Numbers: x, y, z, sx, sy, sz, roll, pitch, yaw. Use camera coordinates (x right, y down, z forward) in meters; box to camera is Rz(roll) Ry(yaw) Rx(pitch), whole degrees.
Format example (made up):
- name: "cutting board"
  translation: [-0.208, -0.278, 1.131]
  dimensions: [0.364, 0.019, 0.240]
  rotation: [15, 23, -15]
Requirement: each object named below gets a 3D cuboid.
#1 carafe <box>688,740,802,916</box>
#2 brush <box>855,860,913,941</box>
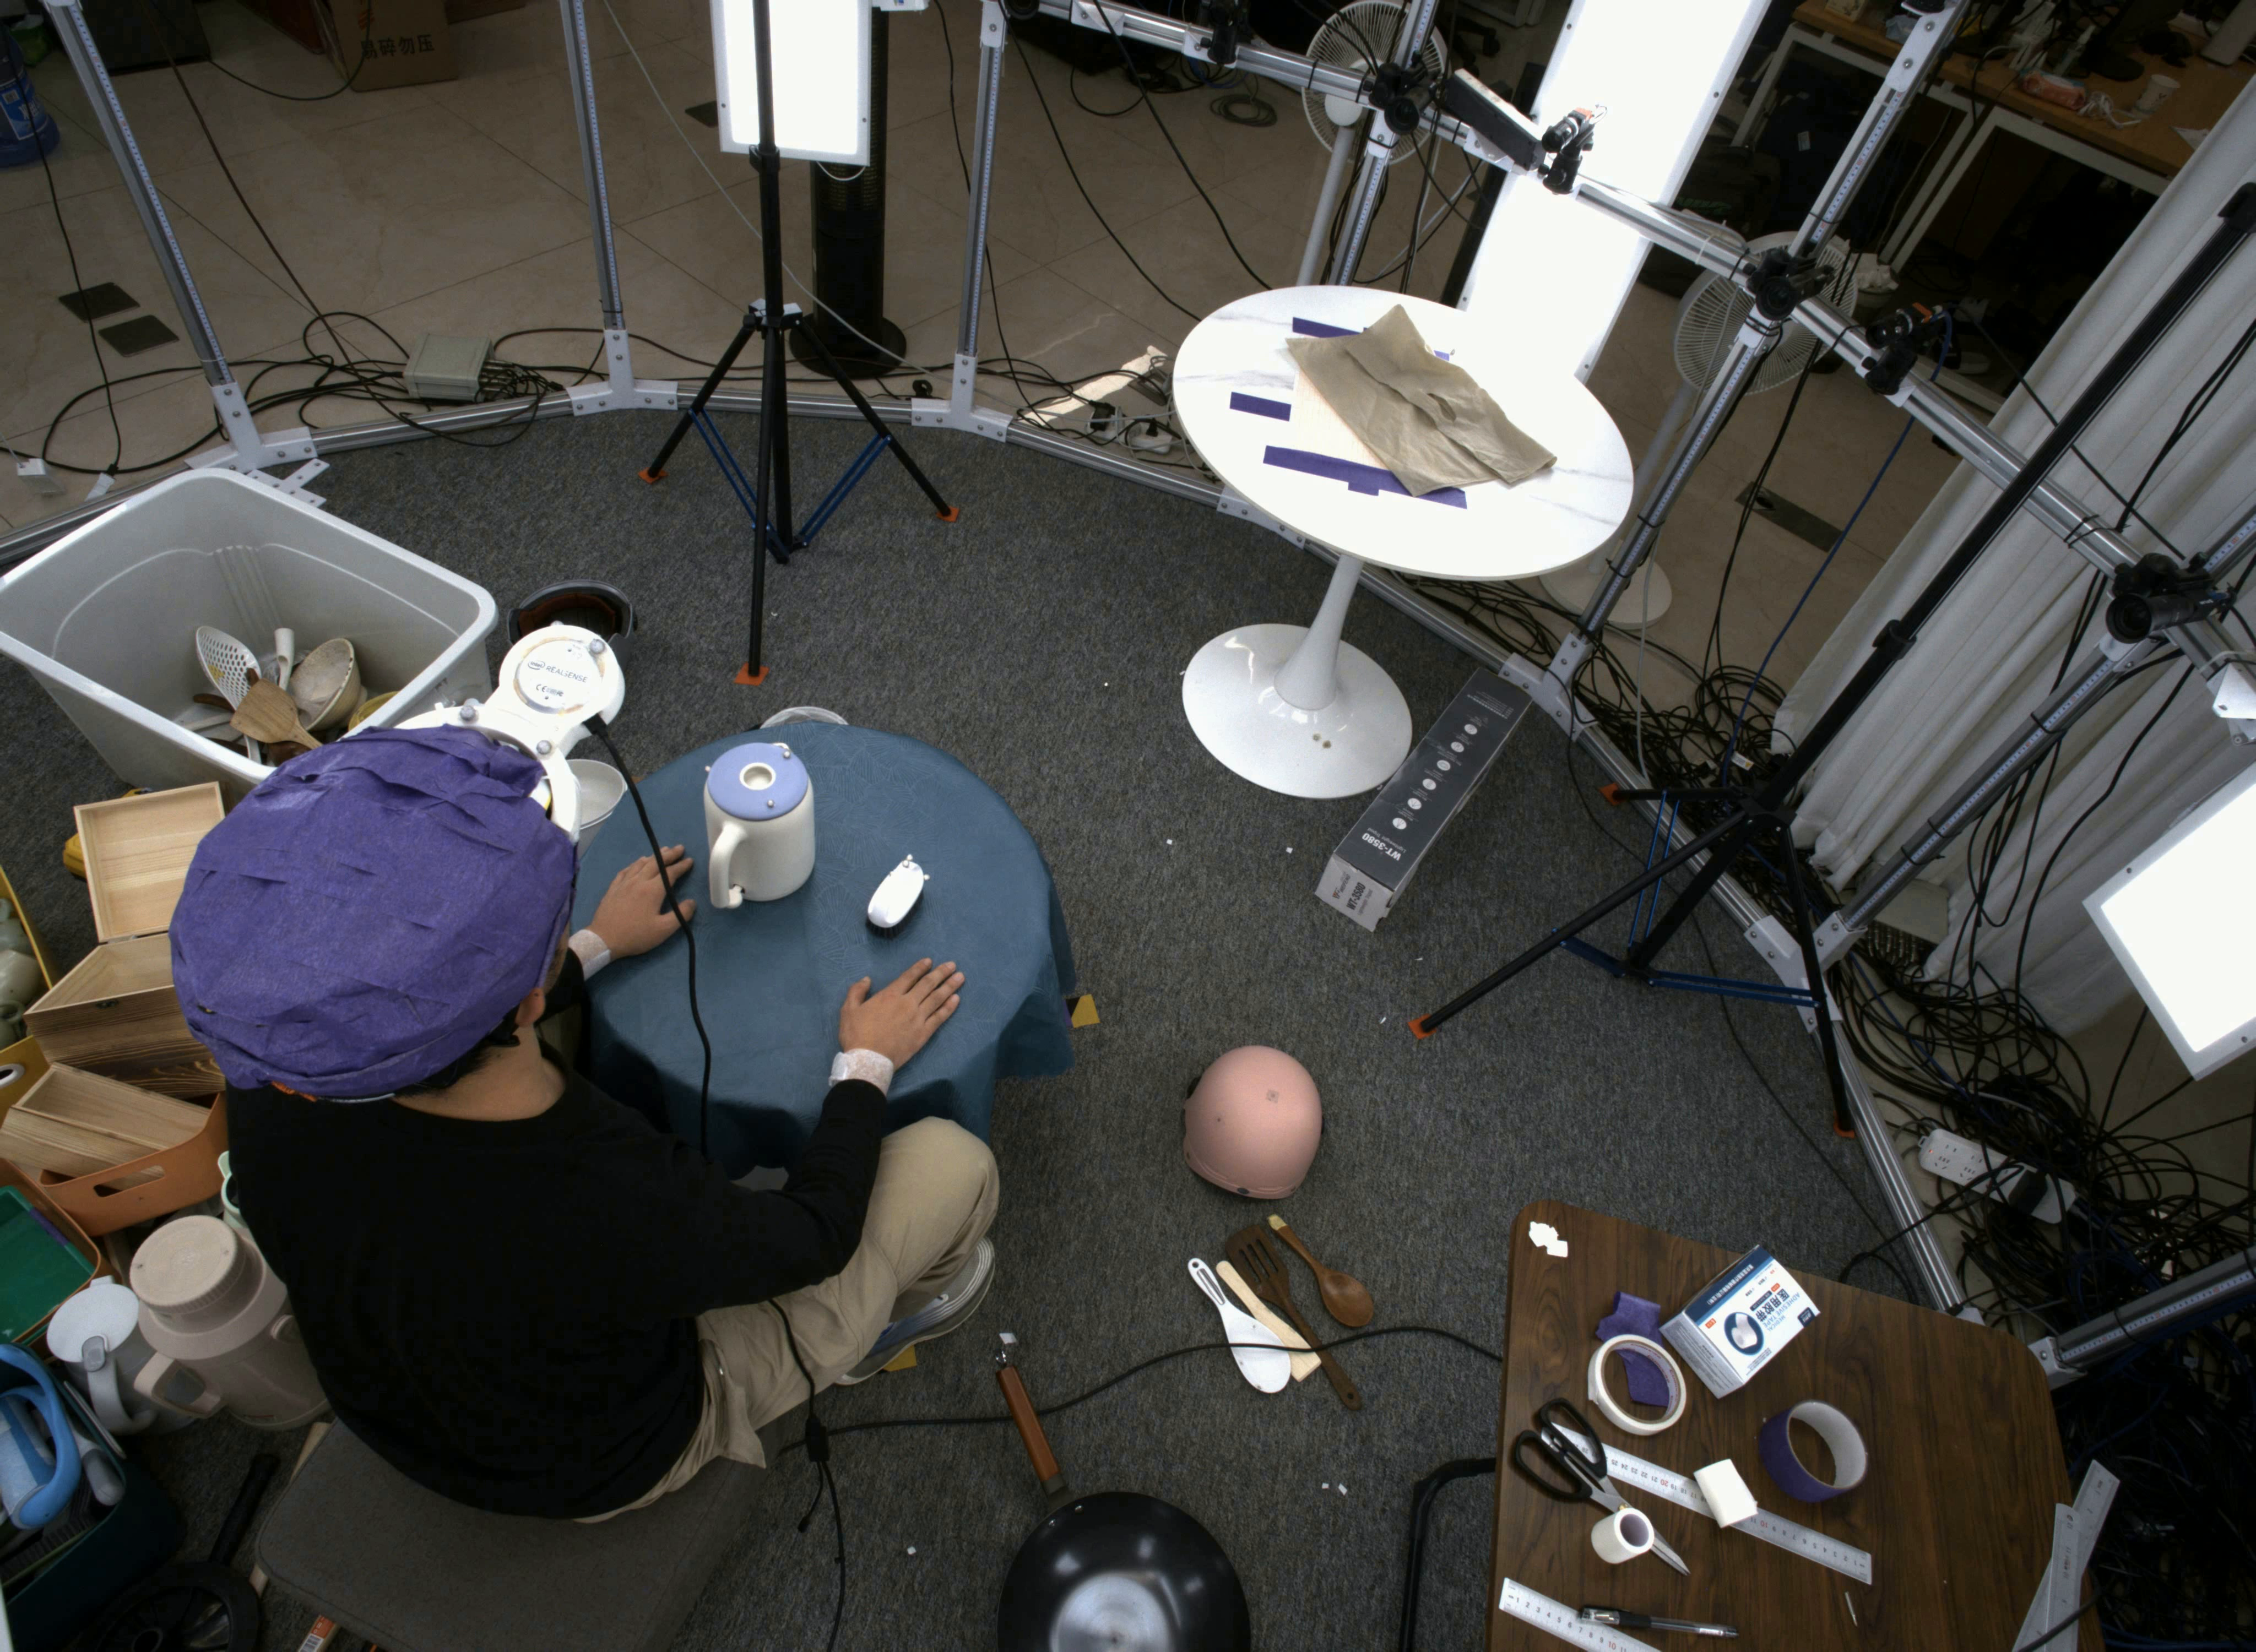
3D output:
- name: "carafe"
  translation: [-0.479, 0.014, 1.583]
  dimensions: [0.131, 0.186, 0.189]
  rotation: [17, 52, 1]
- name: "brush"
  translation: [-0.308, 0.085, 1.638]
  dimensions: [0.049, 0.074, 0.098]
  rotation: [24, 51, 7]
